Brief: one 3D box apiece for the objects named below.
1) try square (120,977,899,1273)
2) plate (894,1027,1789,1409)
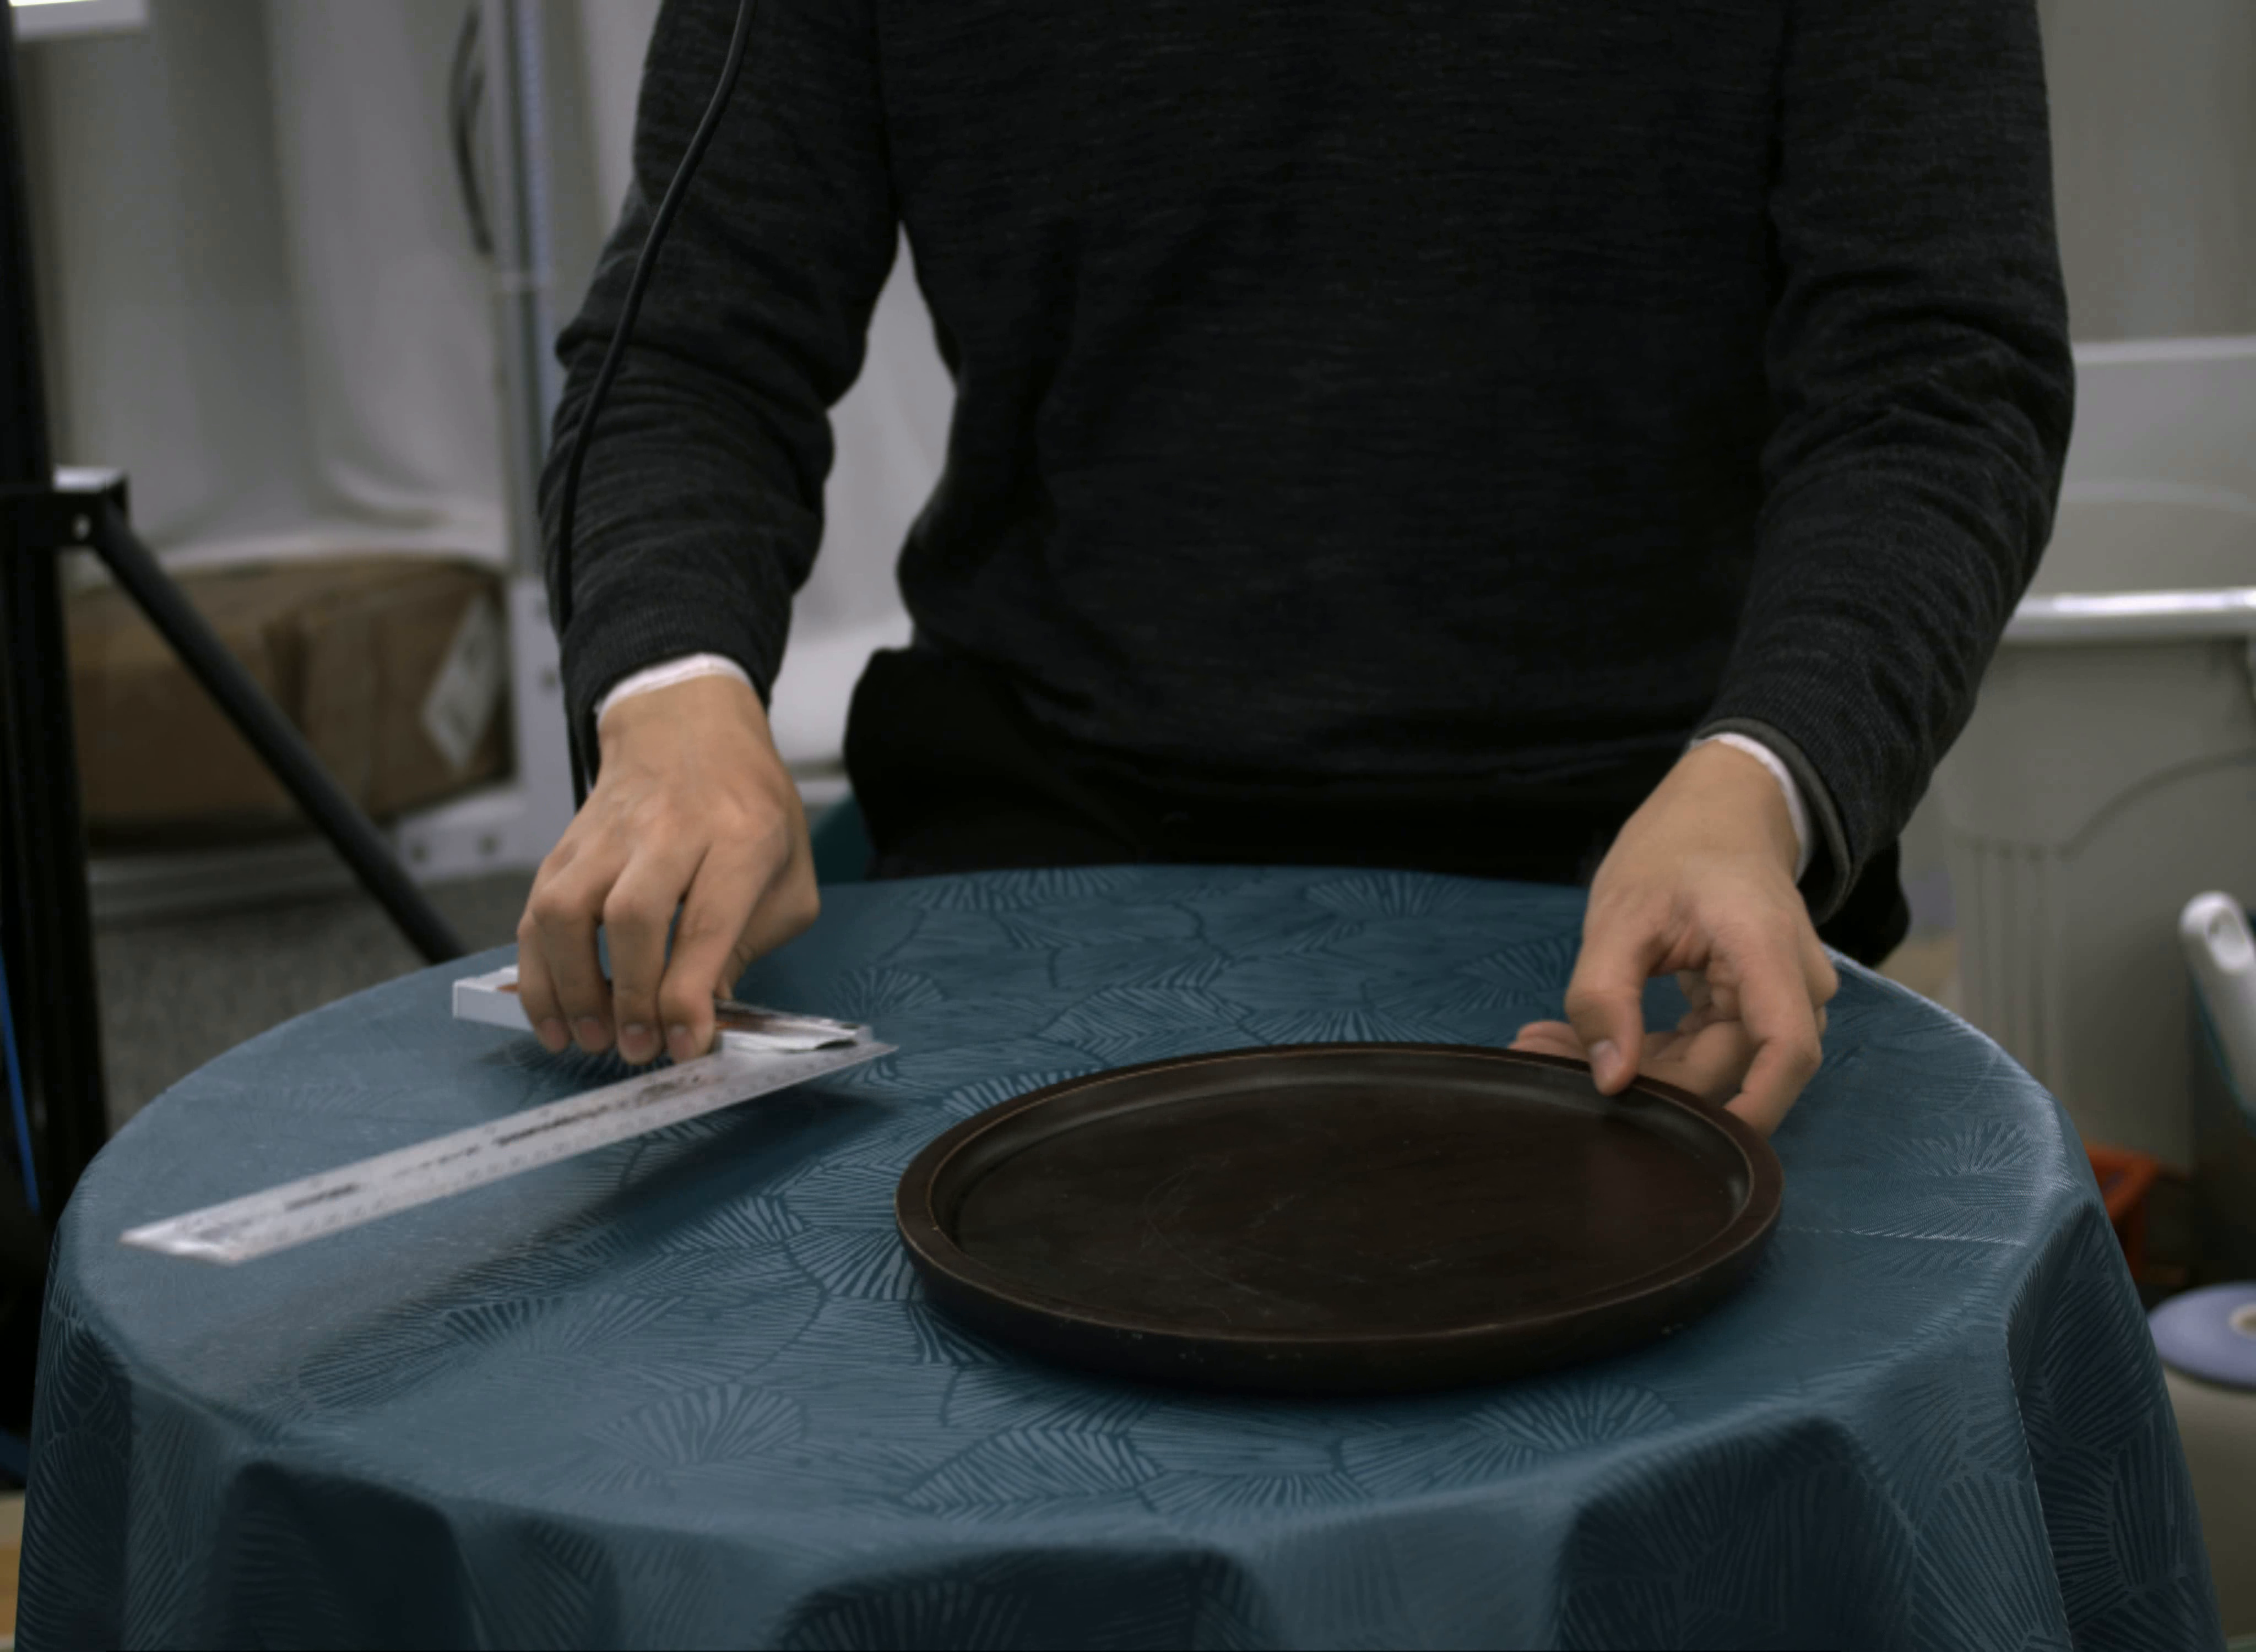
[{"bbox_3d":[-0.215,0.086,1.567,0.155,0.016,0.306,7,13,33],"label":"try square"},{"bbox_3d":[0.060,0.110,1.497,0.253,0.029,0.256,-3,17,0],"label":"plate"}]
